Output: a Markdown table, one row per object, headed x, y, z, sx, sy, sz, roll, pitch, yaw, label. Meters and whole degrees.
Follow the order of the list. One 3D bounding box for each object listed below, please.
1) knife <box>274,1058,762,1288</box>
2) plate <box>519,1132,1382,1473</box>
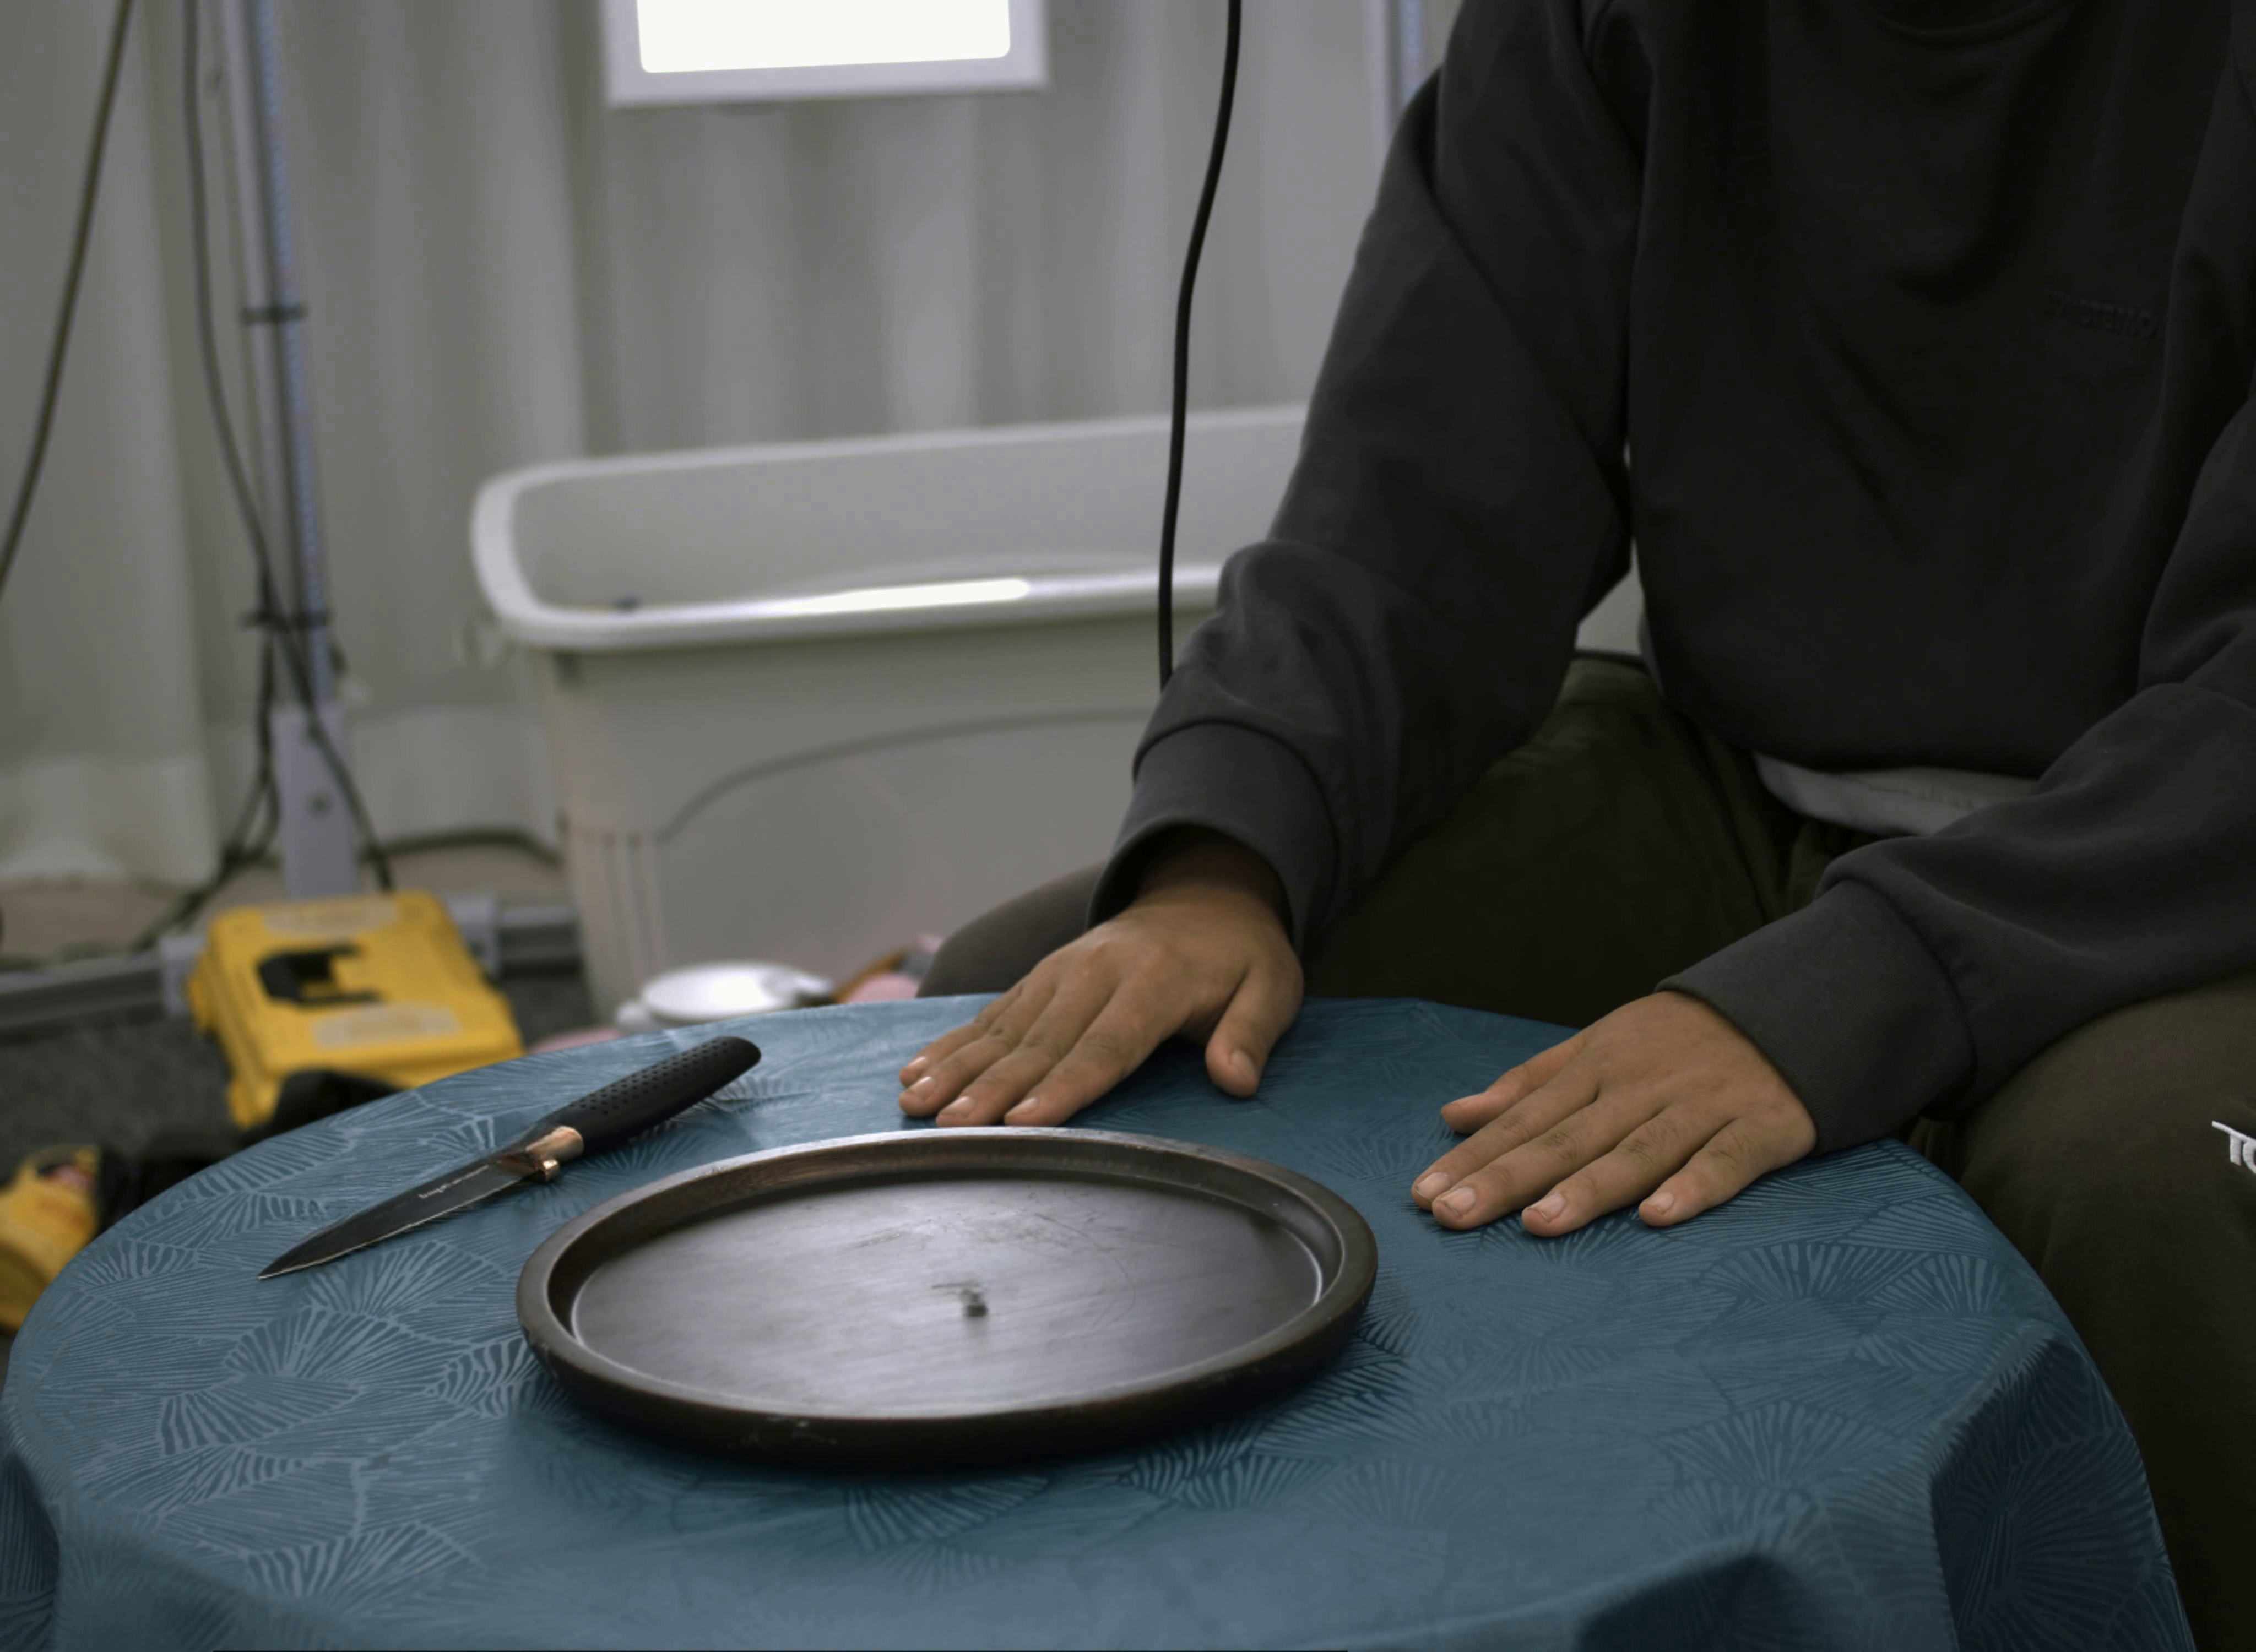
| x | y | z | sx | sy | sz | roll | pitch | yaw | label |
| --- | --- | --- | --- | --- | --- | --- | --- | --- | --- |
| -0.194 | 0.111 | 1.747 | 0.026 | 0.017 | 0.225 | 15 | 23 | 35 | knife |
| -0.051 | 0.137 | 1.599 | 0.254 | 0.029 | 0.256 | -3 | 13 | 0 | plate |
